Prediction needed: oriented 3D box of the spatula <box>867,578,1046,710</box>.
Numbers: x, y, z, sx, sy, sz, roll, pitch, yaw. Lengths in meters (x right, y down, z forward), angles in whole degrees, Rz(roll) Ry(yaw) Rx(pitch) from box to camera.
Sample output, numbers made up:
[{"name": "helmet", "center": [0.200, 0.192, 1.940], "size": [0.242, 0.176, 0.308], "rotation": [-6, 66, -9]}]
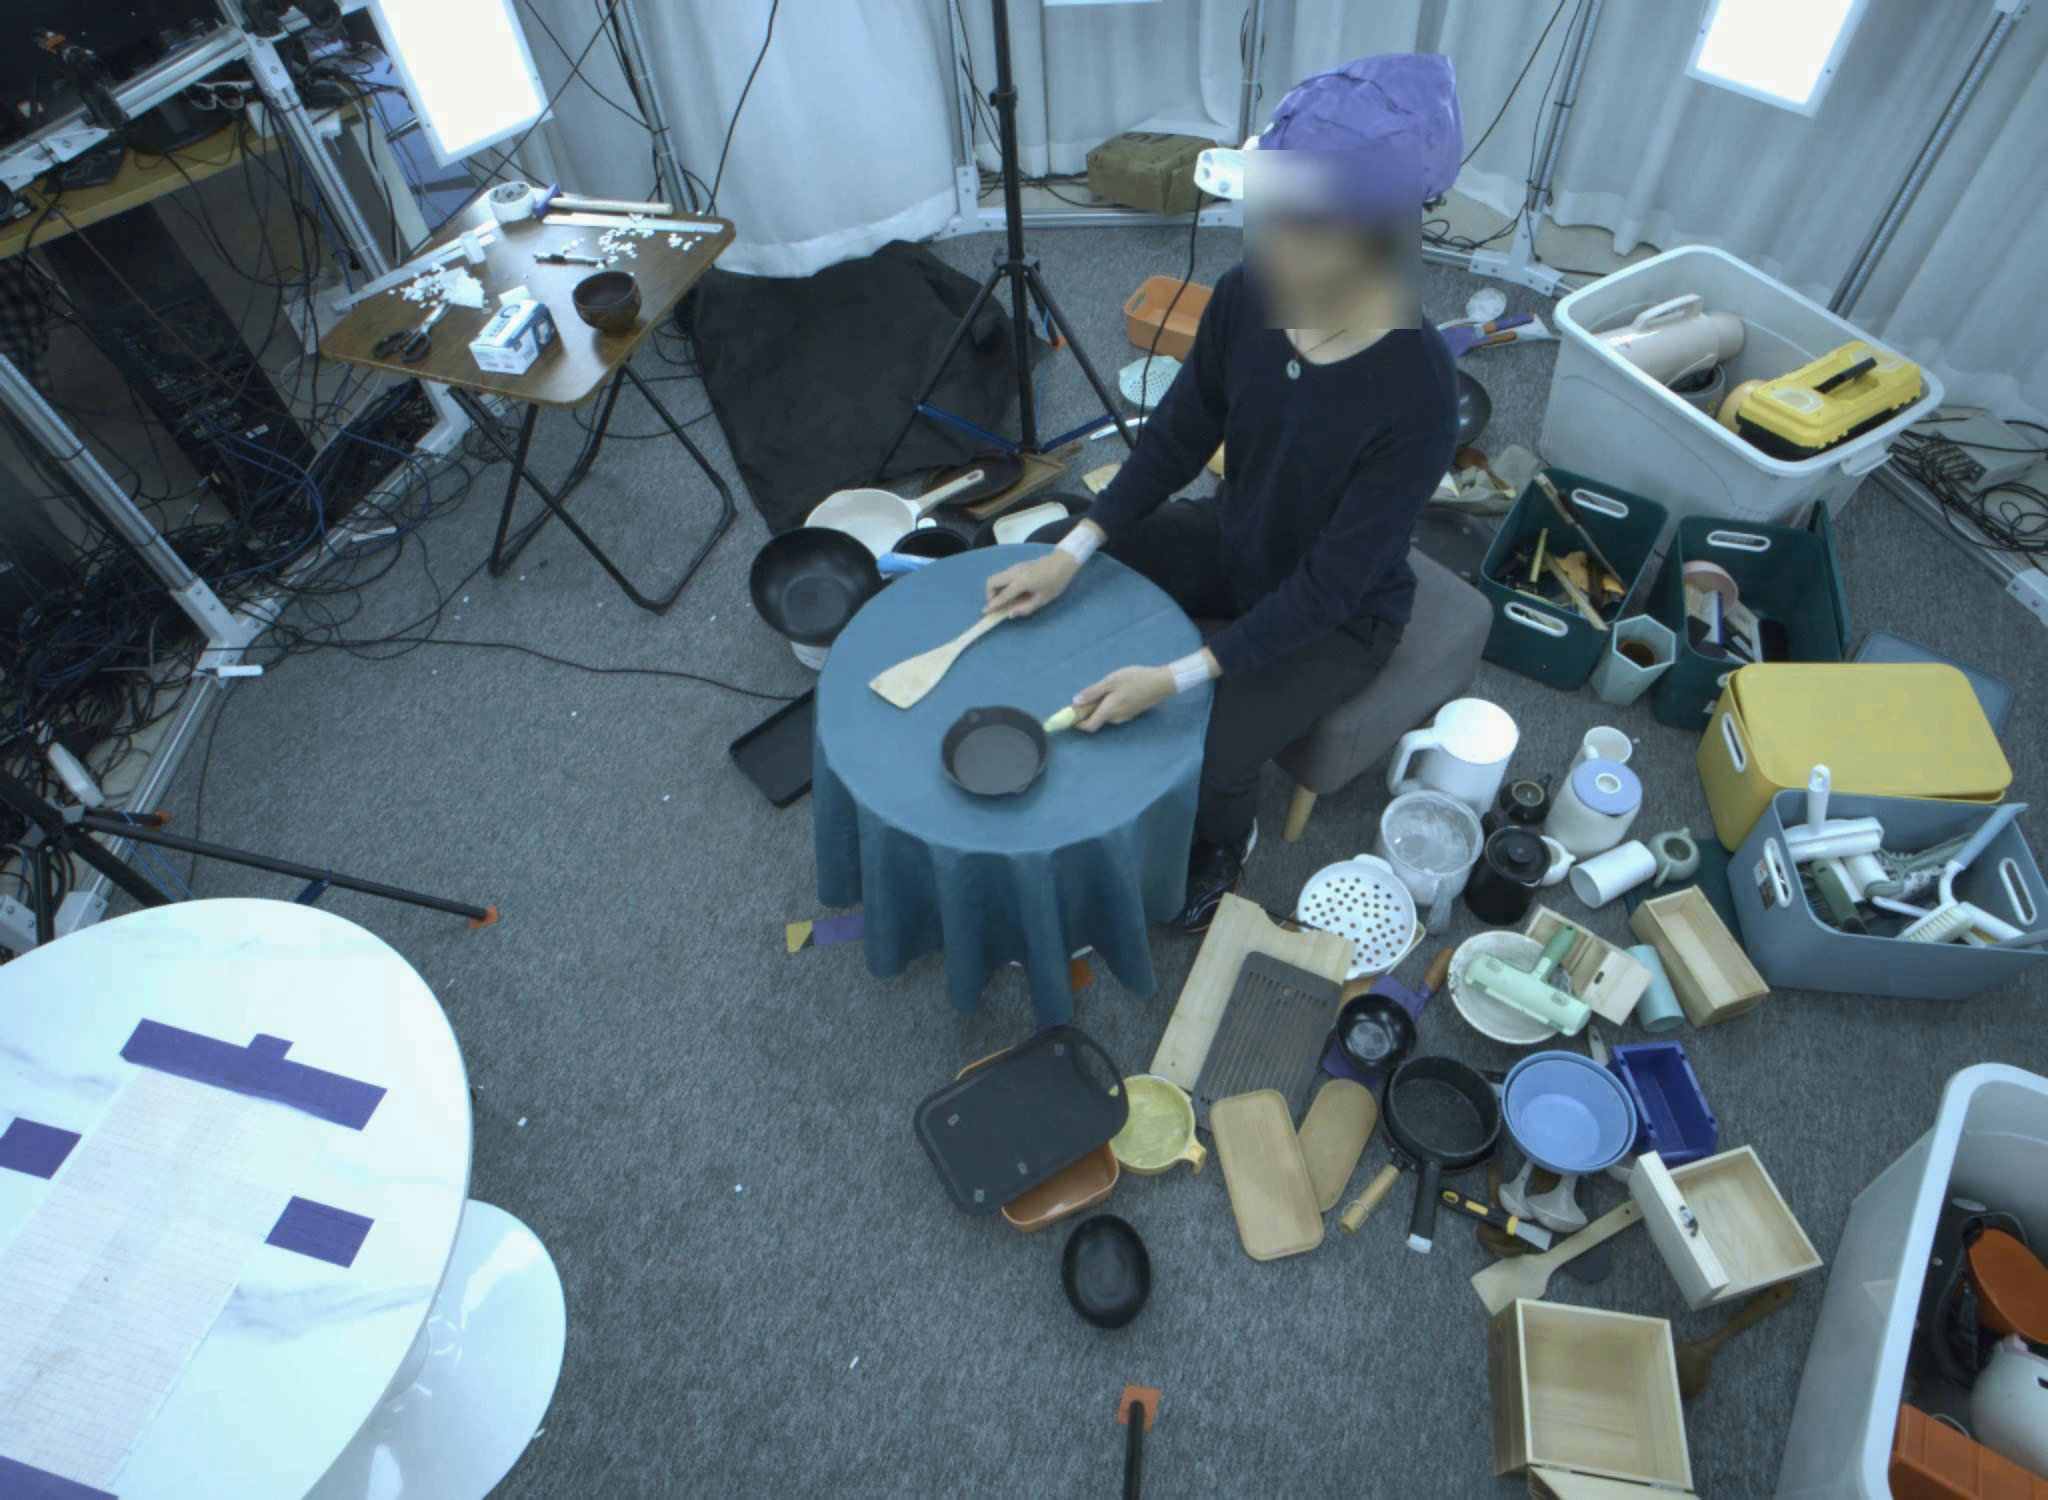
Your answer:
[{"name": "spatula", "center": [-0.092, -0.171, 1.893], "size": [0.329, 0.017, 0.078], "rotation": [-39, 67, -17]}]

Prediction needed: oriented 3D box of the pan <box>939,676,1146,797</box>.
[{"name": "pan", "center": [0.034, -0.031, 1.777], "size": [0.326, 0.050, 0.166], "rotation": [-24, 57, -12]}]
